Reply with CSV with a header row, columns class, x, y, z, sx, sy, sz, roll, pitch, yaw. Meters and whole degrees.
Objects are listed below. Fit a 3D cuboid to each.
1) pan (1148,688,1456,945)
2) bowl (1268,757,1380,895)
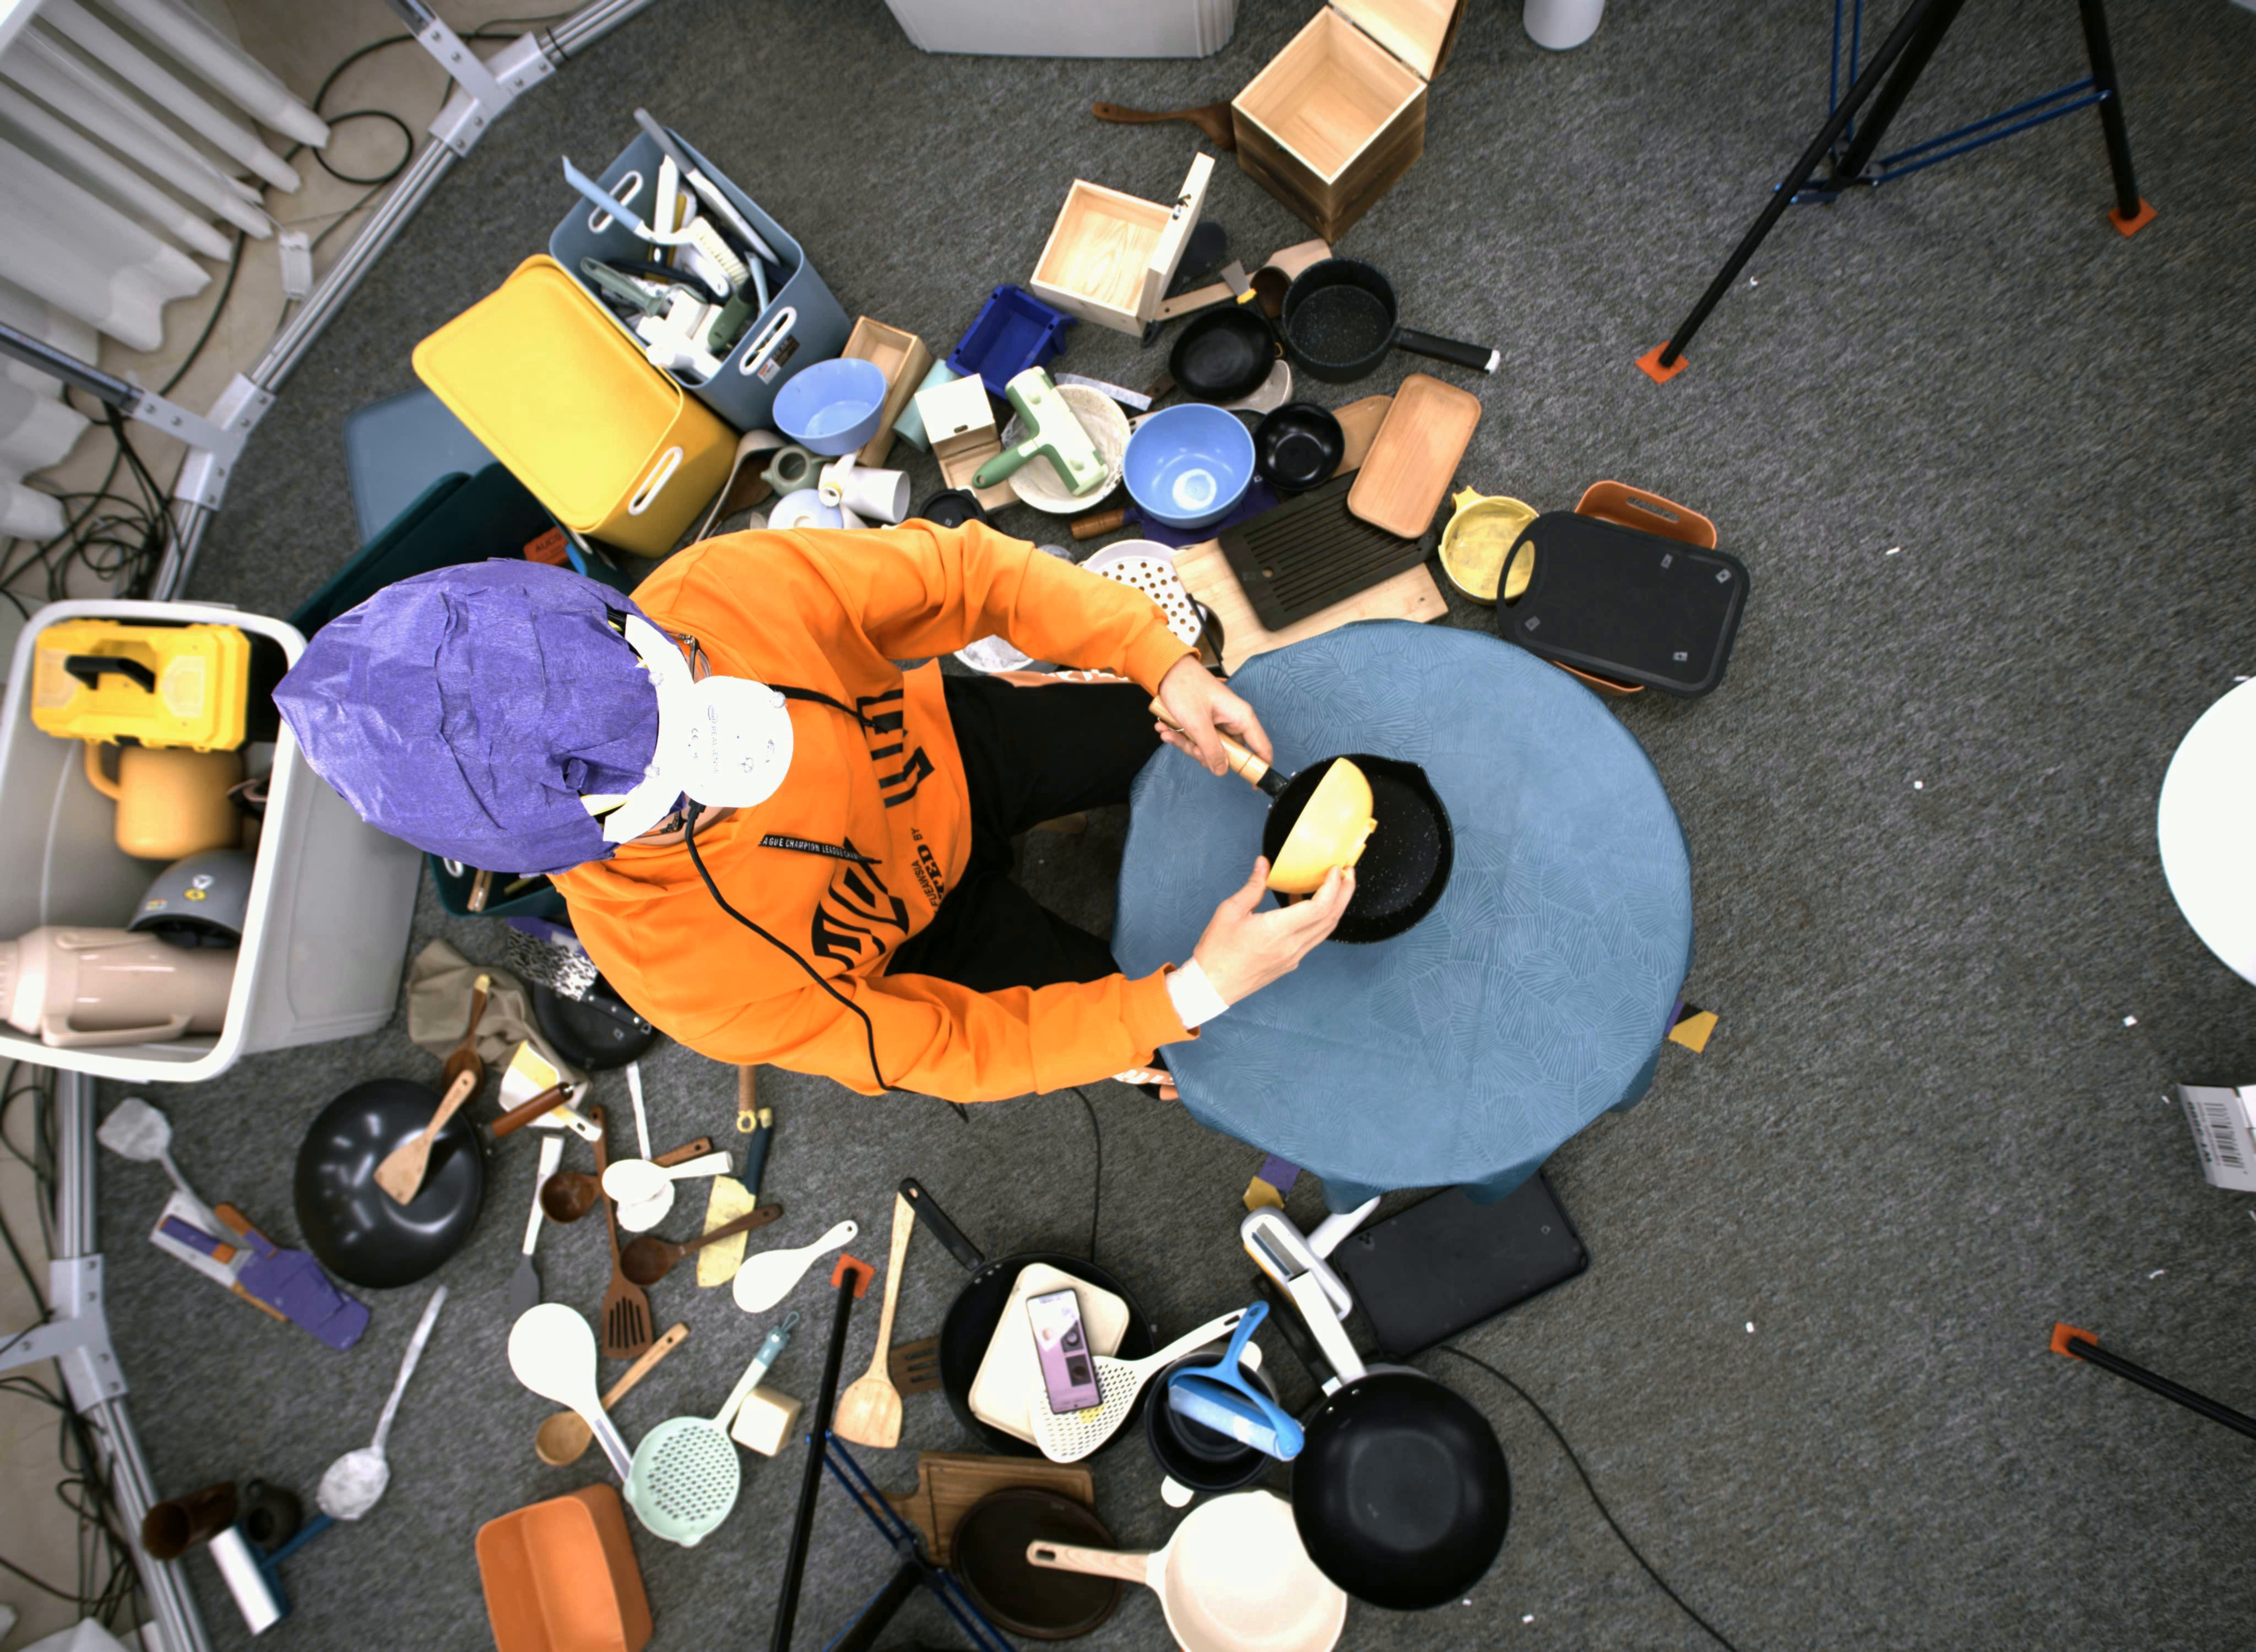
class,x,y,z,sx,sy,sz,roll,pitch,yaw
pan,0.166,-0.026,1.368,0.341,0.107,0.210,37,105,11
bowl,0.192,0.011,1.284,0.060,0.145,0.145,31,91,14
